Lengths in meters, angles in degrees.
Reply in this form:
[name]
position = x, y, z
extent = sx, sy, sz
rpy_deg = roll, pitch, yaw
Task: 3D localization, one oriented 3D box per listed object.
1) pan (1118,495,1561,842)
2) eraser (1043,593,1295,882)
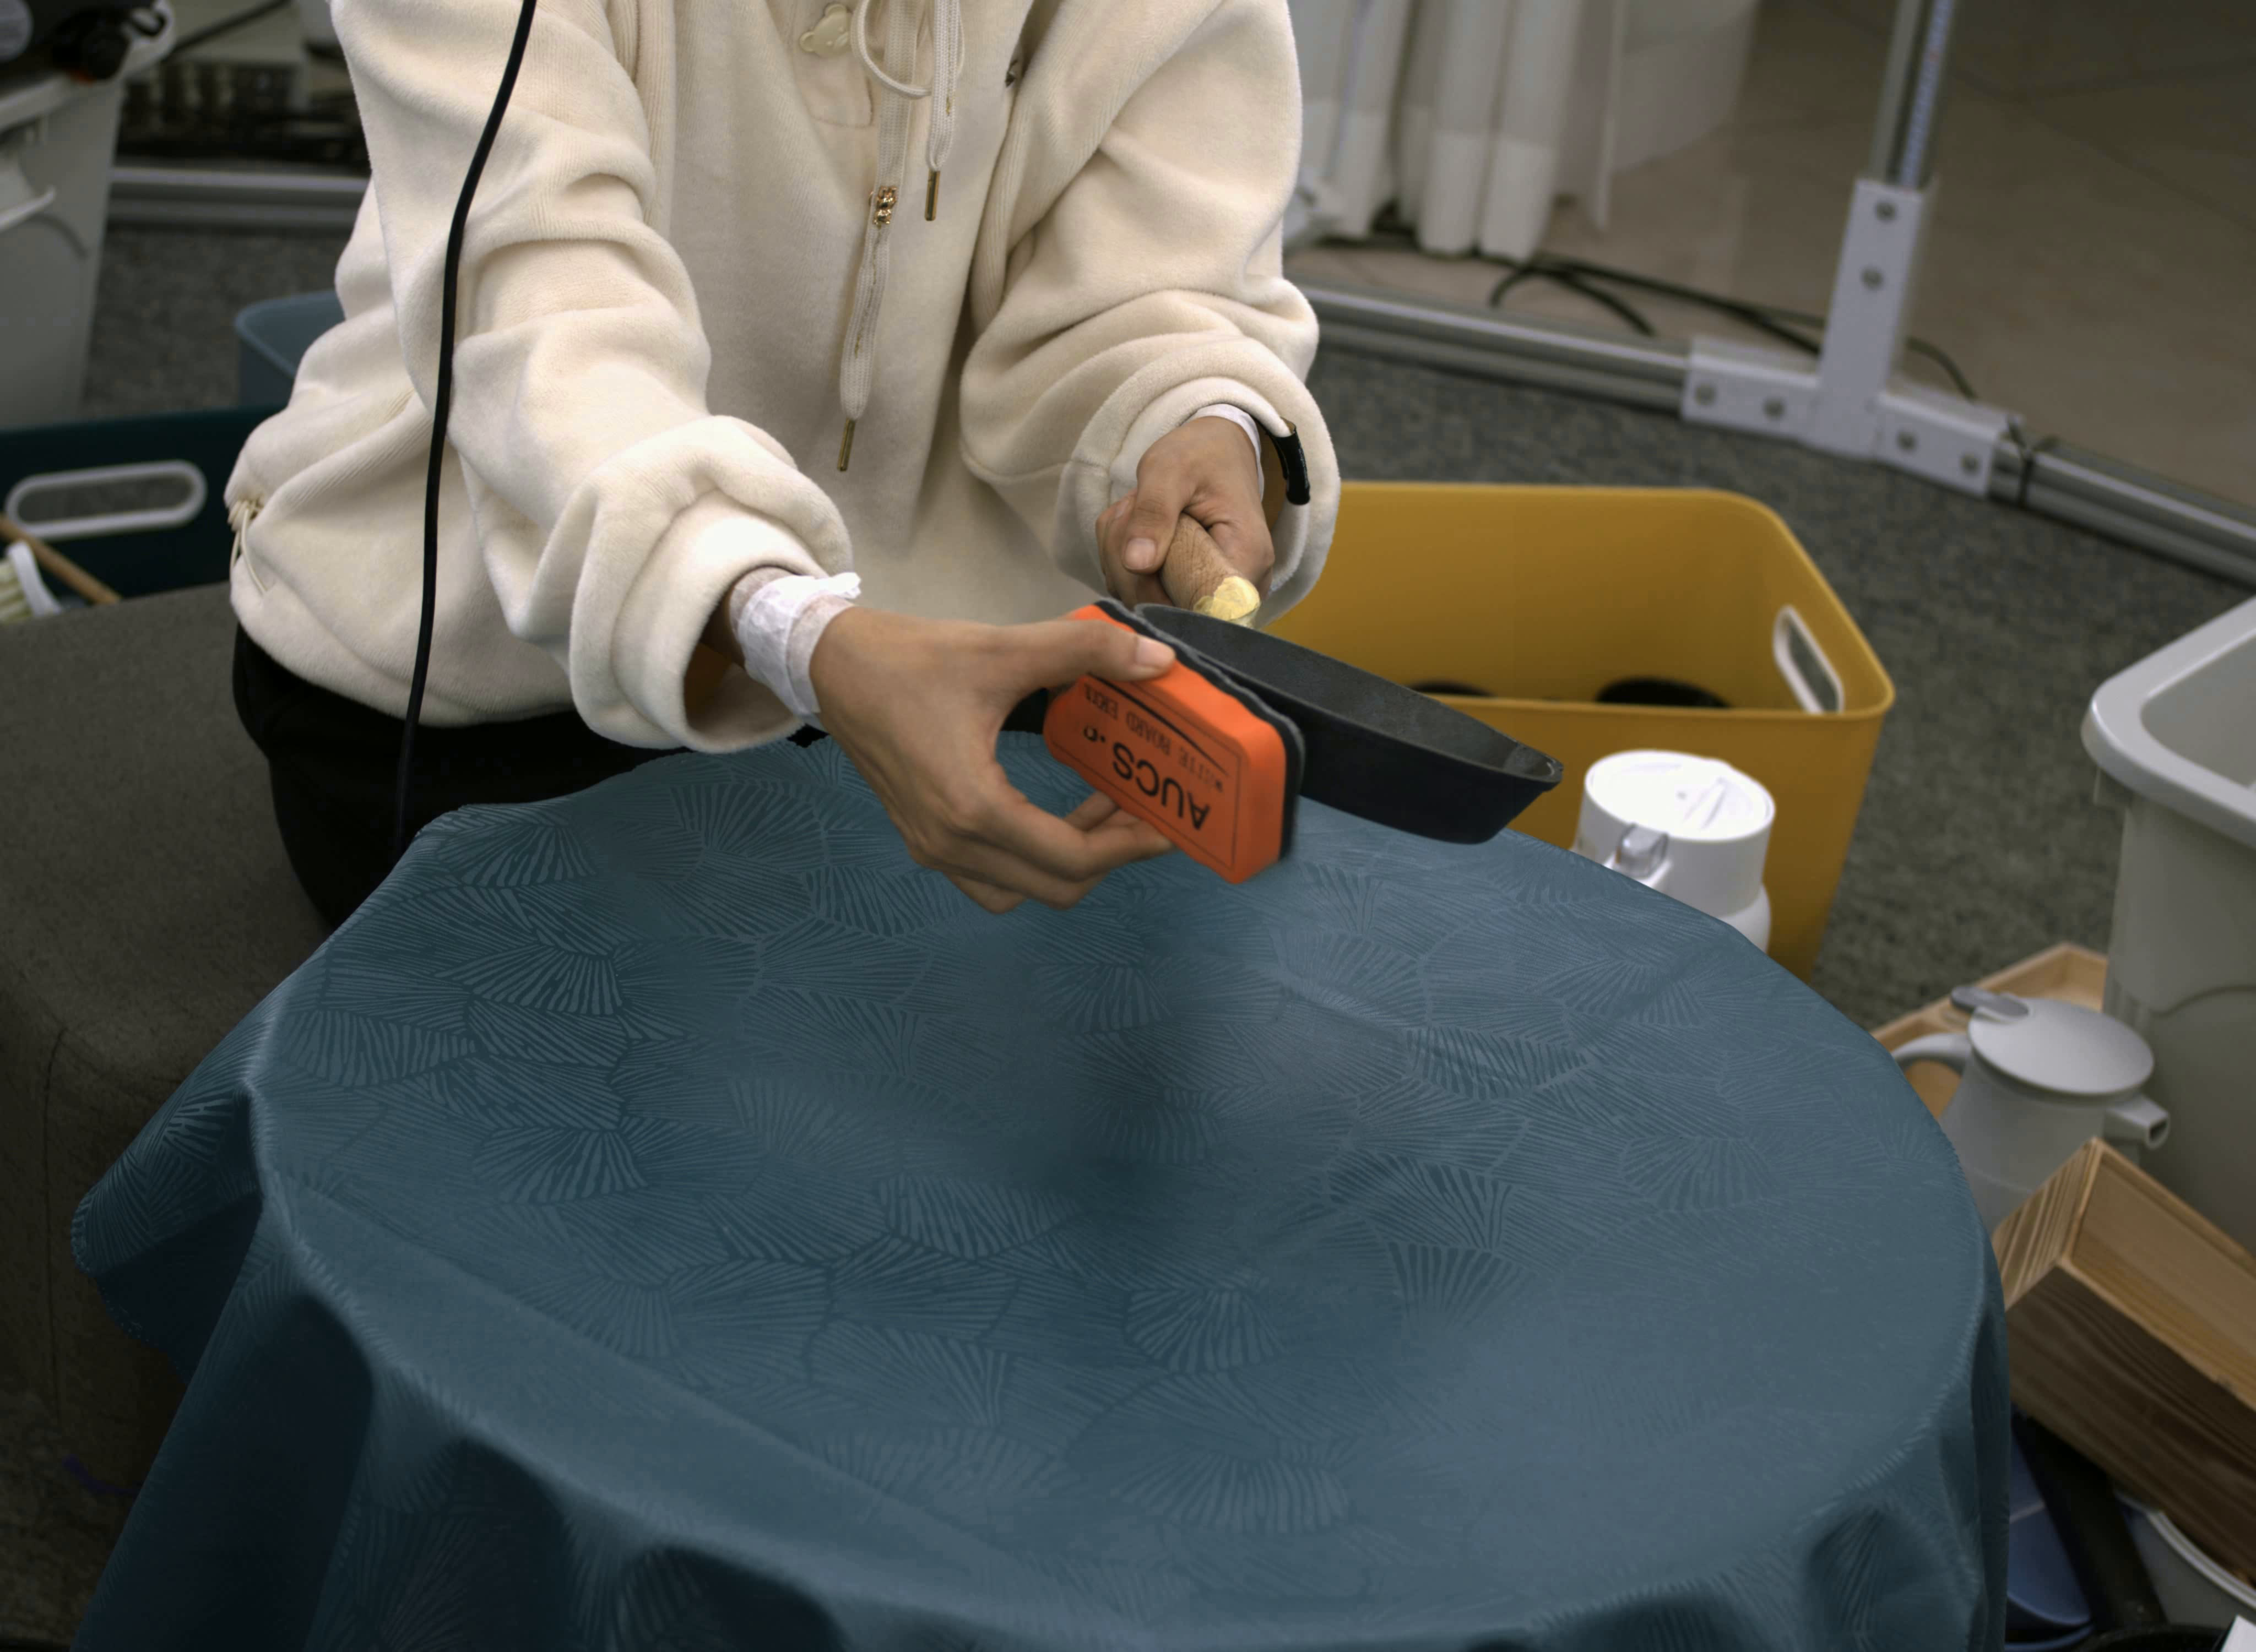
[pan]
position = 0.048, -0.062, 1.893
extent = 0.167, 0.049, 0.326
rpy_deg = 18, 11, -20
[eraser]
position = 0.013, -0.030, 1.763
extent = 0.023, 0.059, 0.109
rpy_deg = -22, 41, -32
